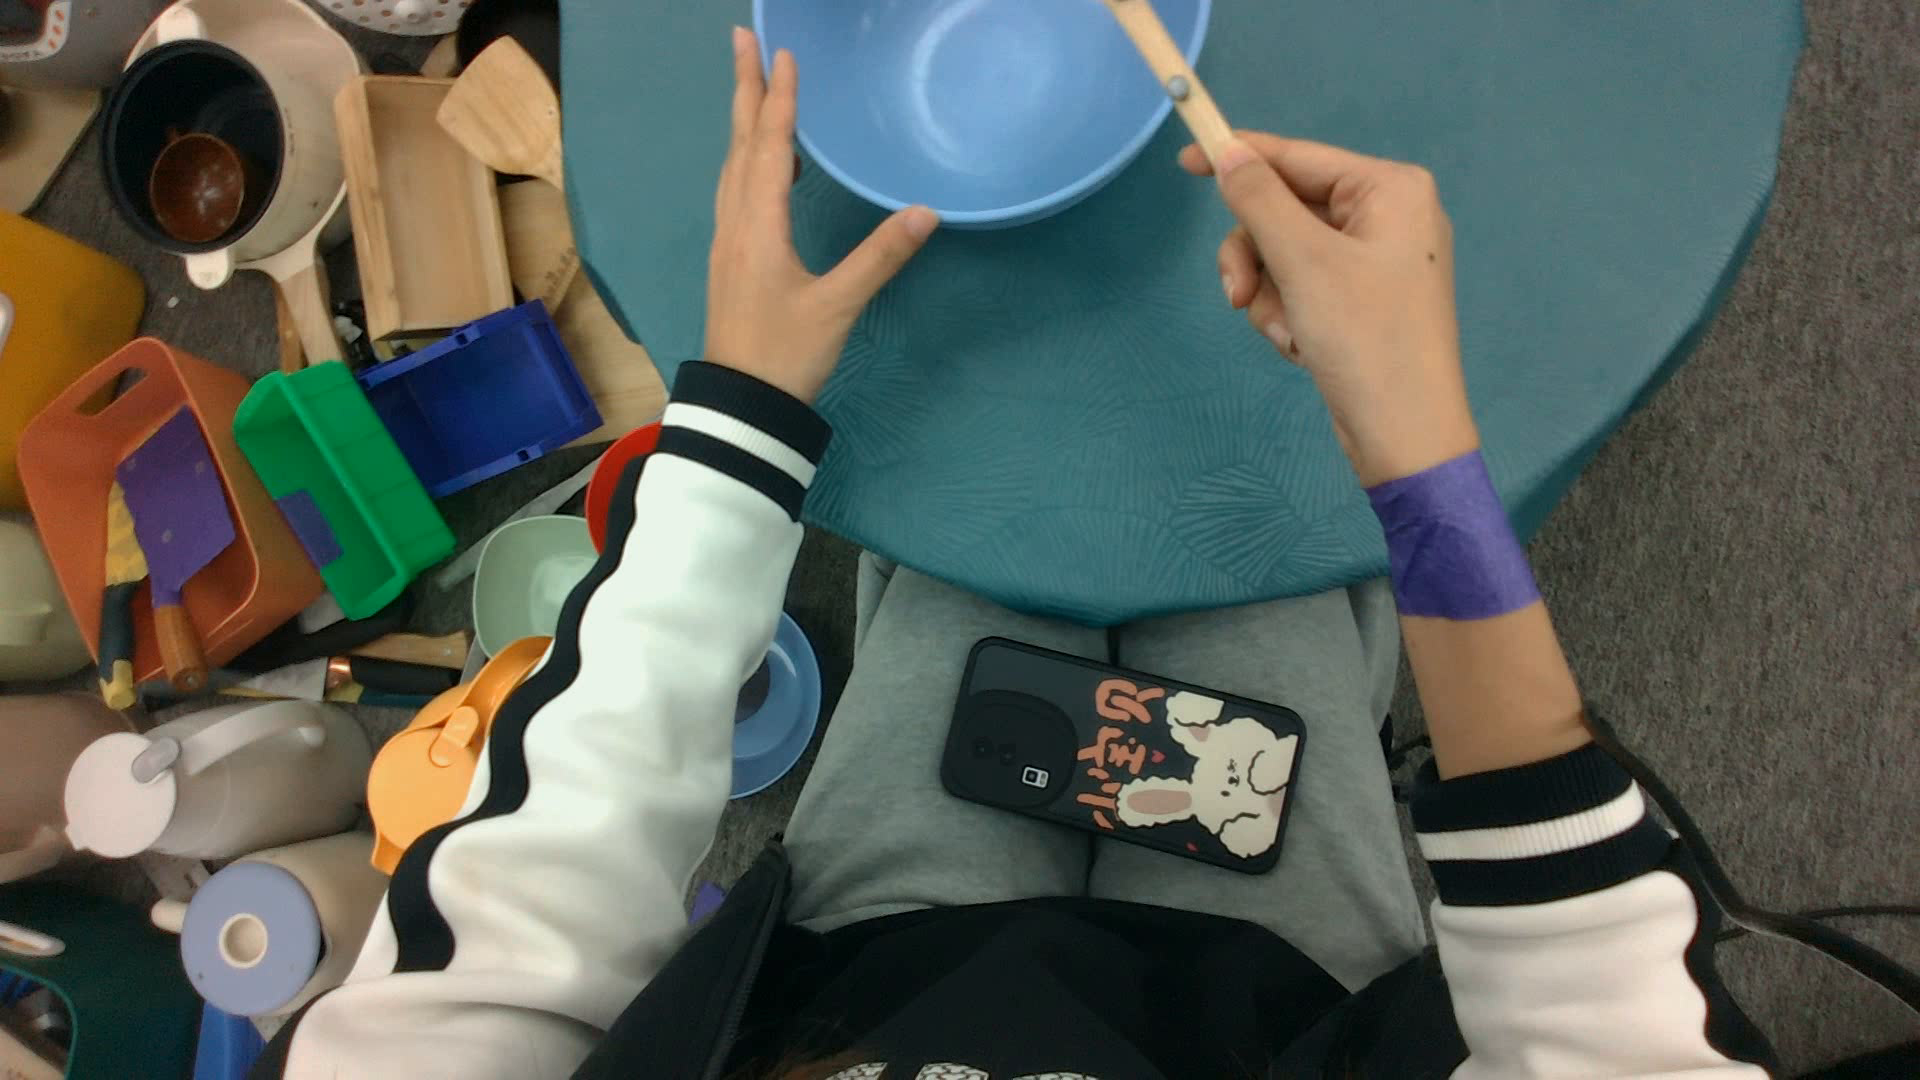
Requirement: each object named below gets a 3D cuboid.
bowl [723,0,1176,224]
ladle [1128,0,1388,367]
[{"bbox_3d":[-0.002,-0.231,0.639,0.196,0.095,0.196,0,85,5],"label":"bowl"},{"bbox_3d":[0.081,-0.176,0.467,0.072,0.073,0.254,-29,79,3],"label":"ladle"}]
